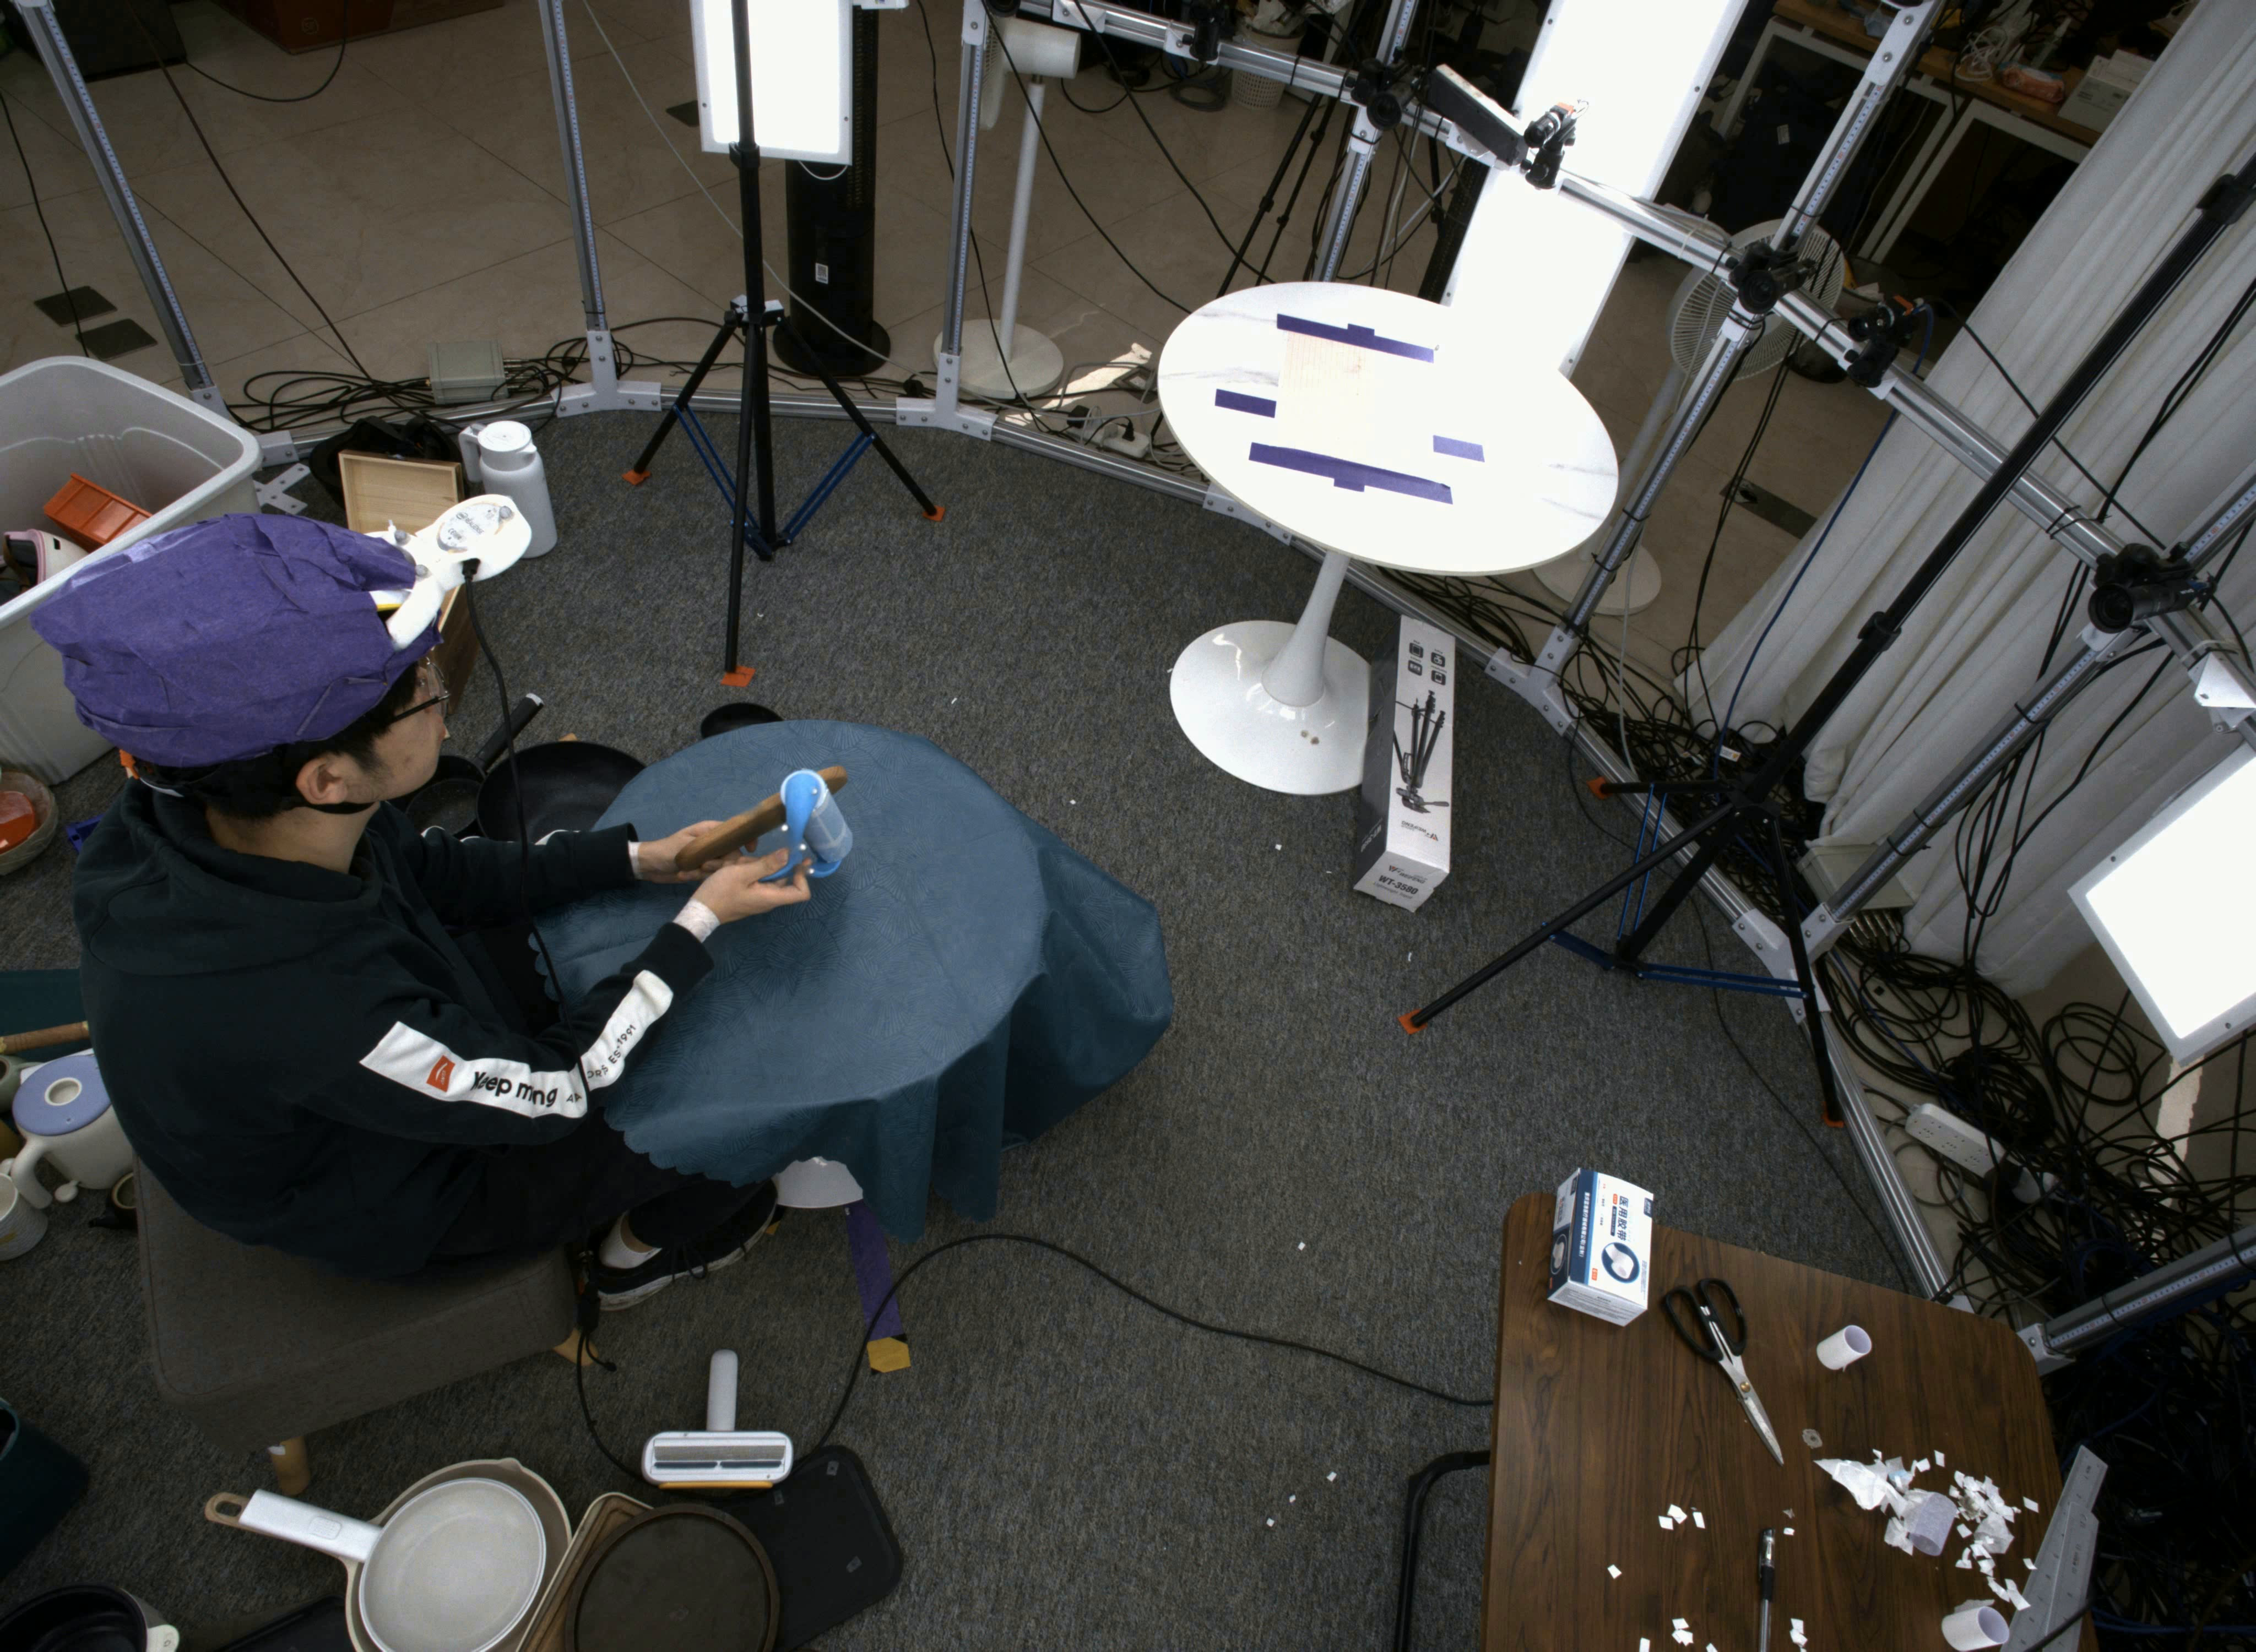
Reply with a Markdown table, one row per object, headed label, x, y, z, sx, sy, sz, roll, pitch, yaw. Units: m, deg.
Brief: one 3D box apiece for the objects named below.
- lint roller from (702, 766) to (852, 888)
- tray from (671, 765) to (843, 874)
| label | x | y | z | sx | sy | sz | roll | pitch | yaw |
| --- | --- | --- | --- | --- | --- | --- | --- | --- | --- |
| lint roller | -0.419 | 0.027 | 1.551 | 0.180 | 0.231 | 0.067 | -42 | 79 | -12 |
| tray | -0.448 | -0.009 | 1.571 | 0.231 | 0.102 | 0.020 | -33 | 83 | -16 |
